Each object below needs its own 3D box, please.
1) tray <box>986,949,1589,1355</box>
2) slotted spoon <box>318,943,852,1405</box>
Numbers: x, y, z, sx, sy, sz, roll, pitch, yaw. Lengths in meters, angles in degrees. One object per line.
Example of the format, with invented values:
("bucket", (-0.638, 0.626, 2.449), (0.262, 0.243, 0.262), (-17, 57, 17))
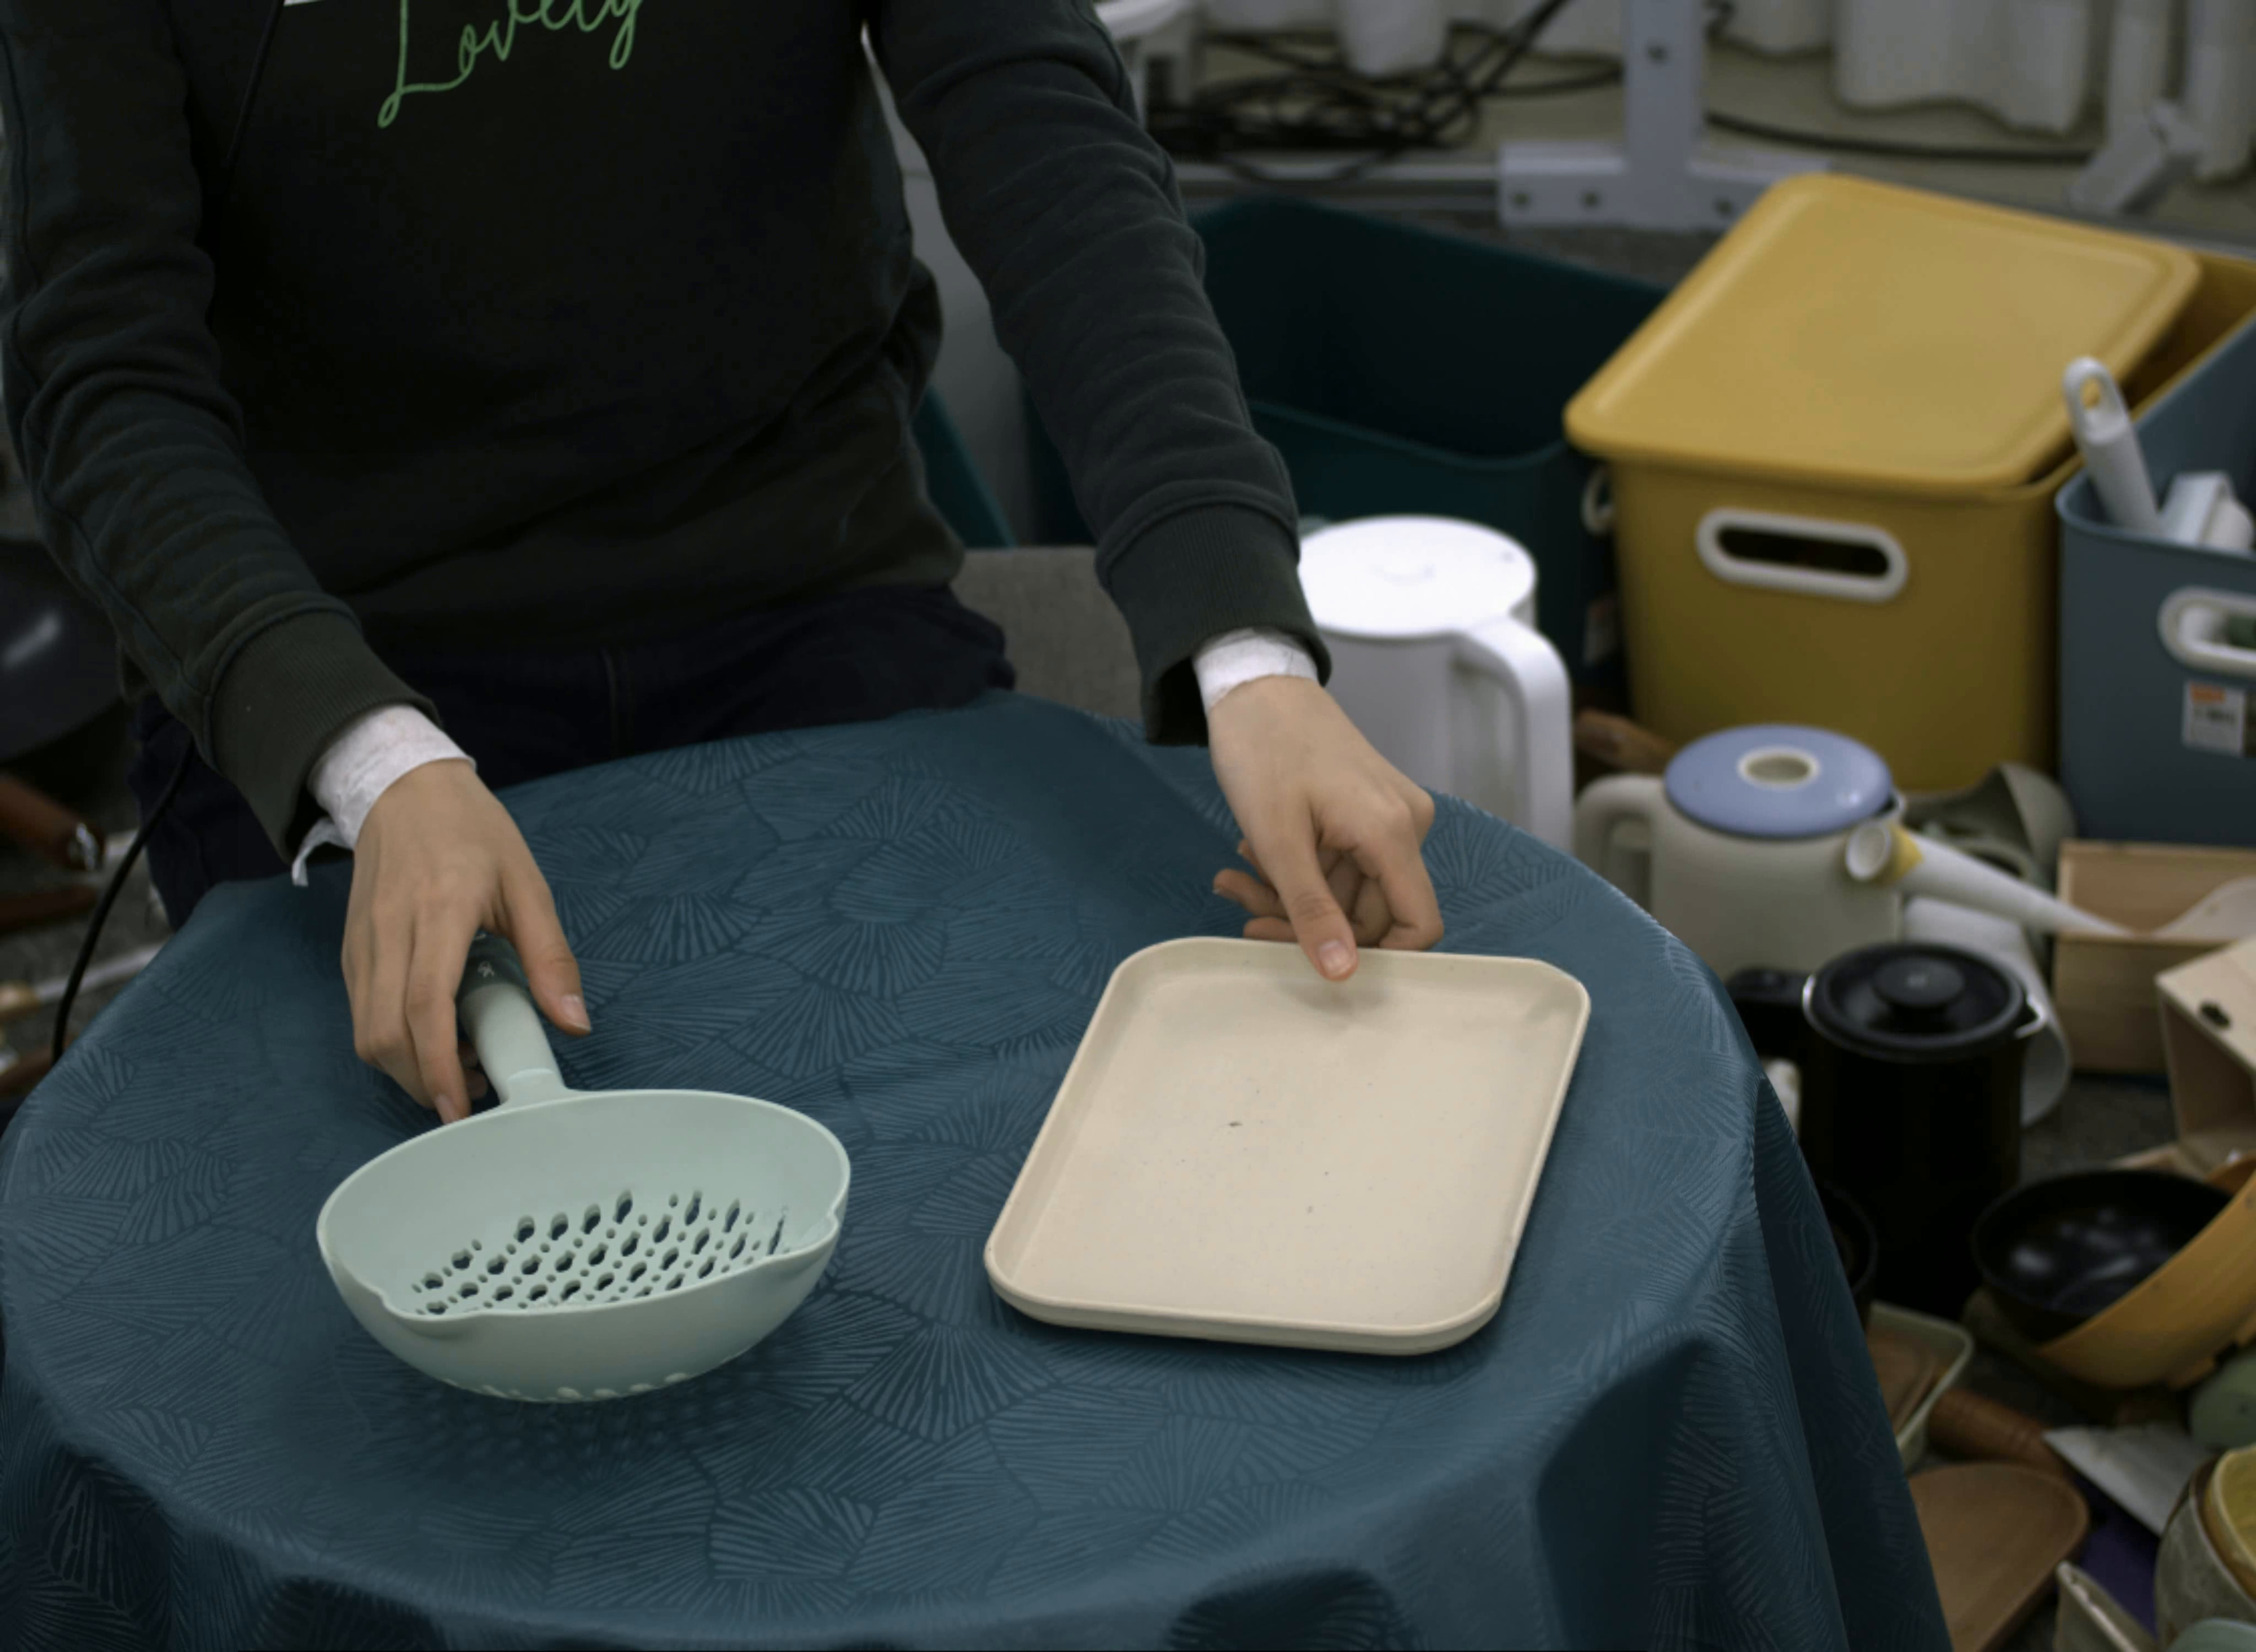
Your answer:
("tray", (0.056, 0.107, 1.866), (0.170, 0.017, 0.244), (4, 27, 12))
("slotted spoon", (-0.193, 0.099, 1.857), (0.169, 0.074, 0.362), (-8, 27, -12))
